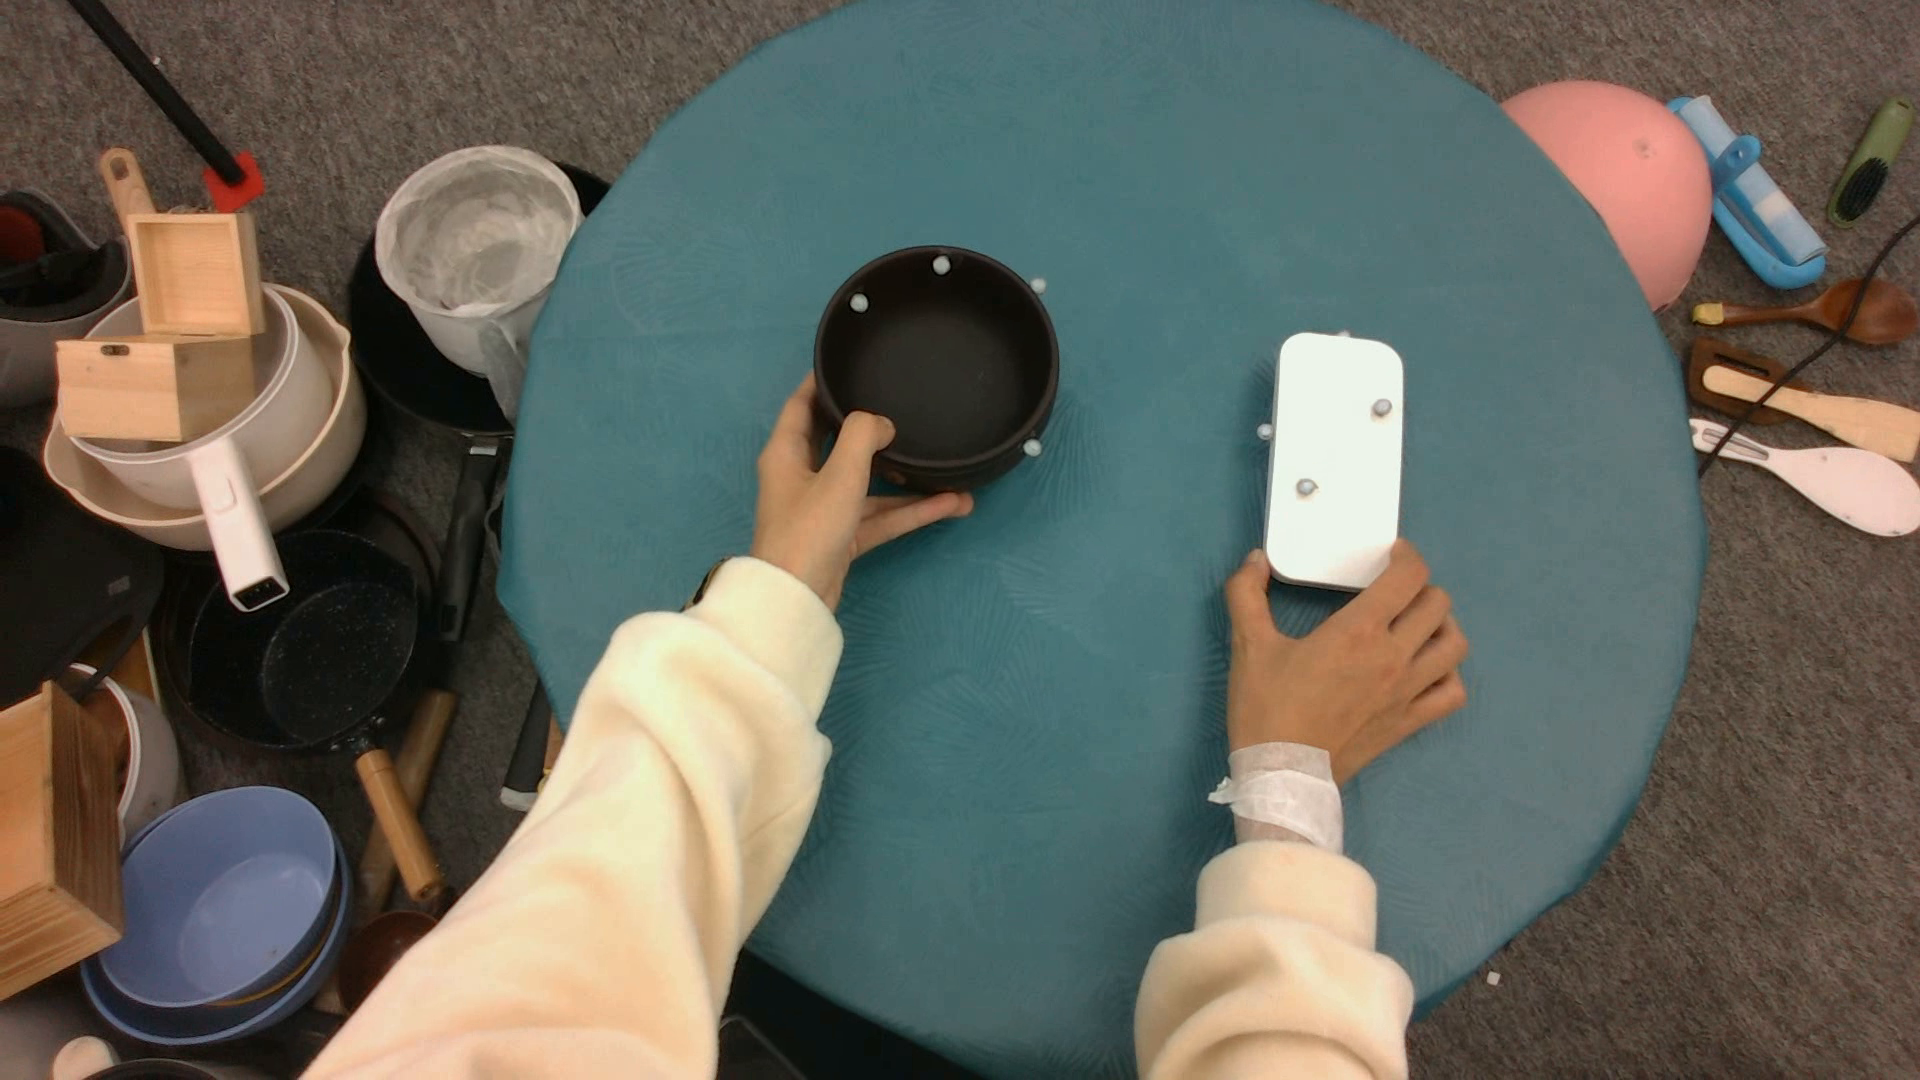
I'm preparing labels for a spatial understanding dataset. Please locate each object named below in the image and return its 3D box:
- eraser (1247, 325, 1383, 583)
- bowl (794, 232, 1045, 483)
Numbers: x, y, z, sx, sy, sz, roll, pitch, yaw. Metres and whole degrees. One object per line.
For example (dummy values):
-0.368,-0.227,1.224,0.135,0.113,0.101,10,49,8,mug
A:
0.174,-0.044,0.682,0.063,0.034,0.131,8,71,1,eraser
-0.019,-0.081,0.665,0.118,0.069,0.118,0,72,0,bowl
